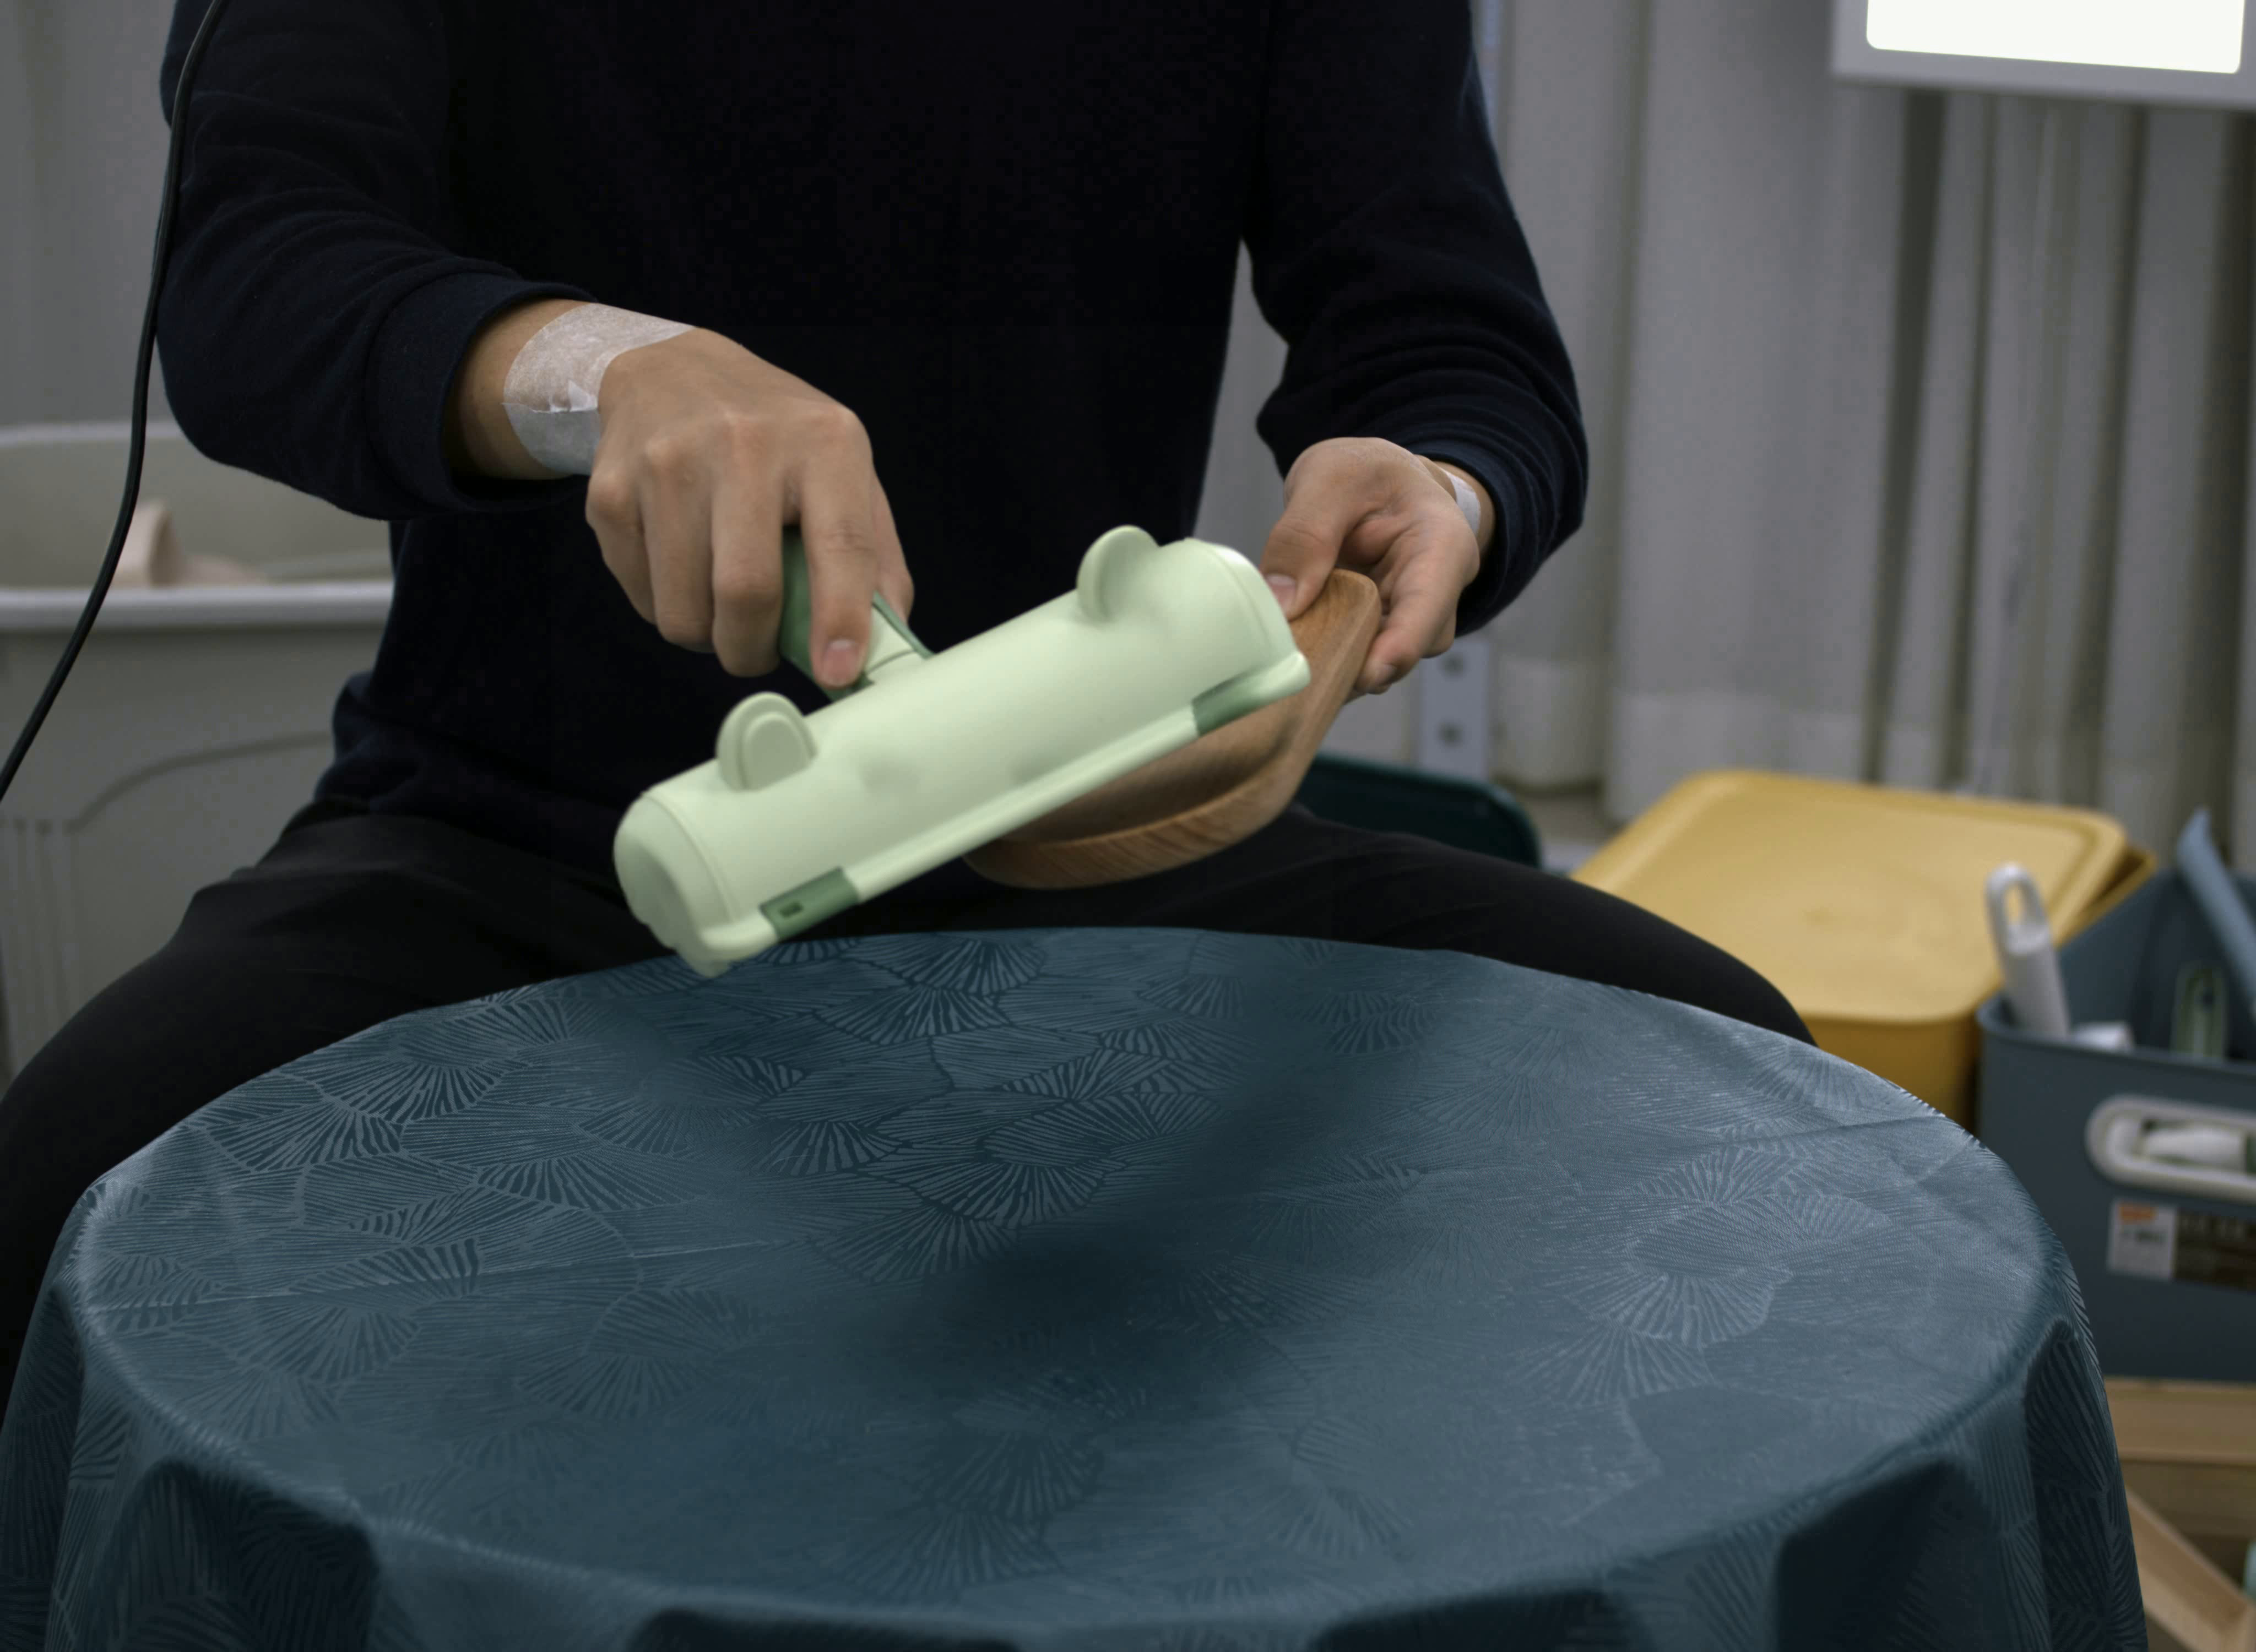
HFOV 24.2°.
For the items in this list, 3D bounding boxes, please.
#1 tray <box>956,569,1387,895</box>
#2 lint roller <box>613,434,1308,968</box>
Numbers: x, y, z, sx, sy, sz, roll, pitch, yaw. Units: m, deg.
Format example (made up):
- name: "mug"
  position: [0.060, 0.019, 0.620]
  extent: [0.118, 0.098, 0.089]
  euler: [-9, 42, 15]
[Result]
- name: "tray"
  position: [0.016, -0.030, 1.526]
  extent: [0.101, 0.020, 0.230]
  euler: [-9, 21, 16]
- name: "lint roller"
  position: [-0.077, -0.066, 1.463]
  extent: [0.199, 0.083, 0.181]
  euler: [-27, 61, -23]
